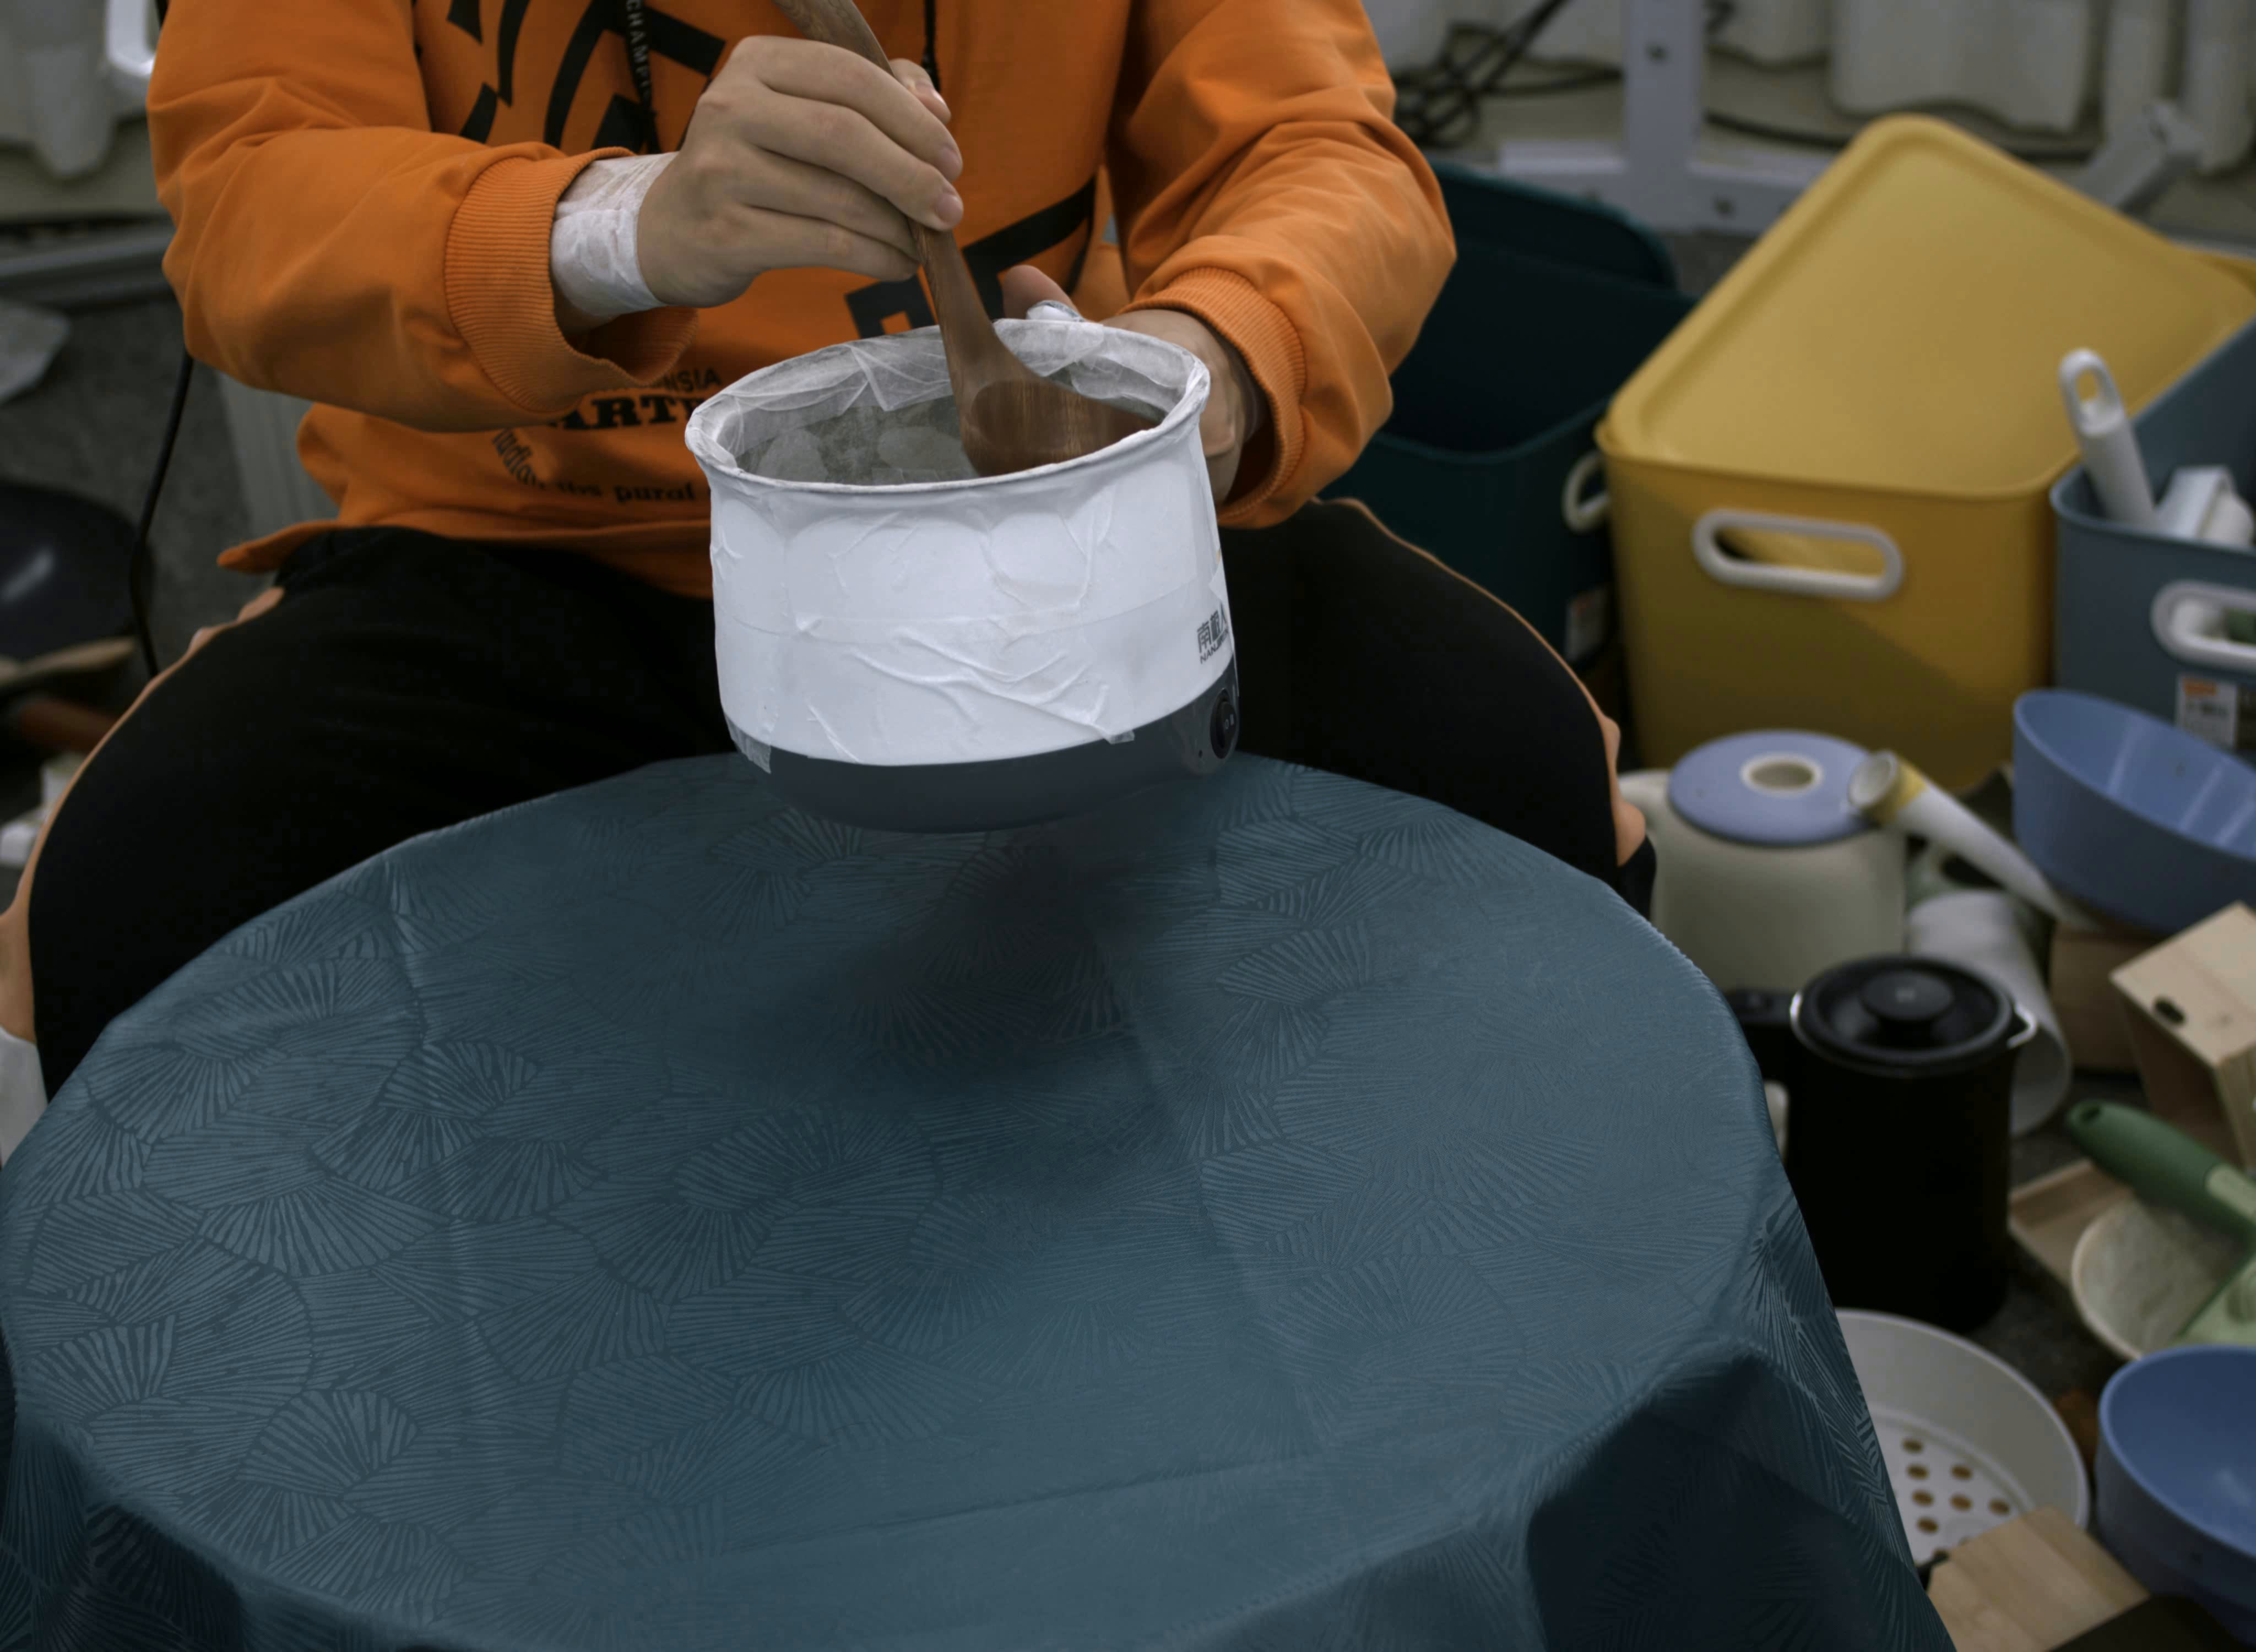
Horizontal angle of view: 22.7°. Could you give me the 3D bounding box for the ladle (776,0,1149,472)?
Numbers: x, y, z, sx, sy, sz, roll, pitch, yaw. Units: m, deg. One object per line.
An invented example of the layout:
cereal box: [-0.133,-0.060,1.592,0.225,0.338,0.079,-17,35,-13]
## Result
ladle: [-0.063,-0.216,1.939,0.077,0.064,0.263,-5,63,-48]

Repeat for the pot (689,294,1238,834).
pot: [-0.046,-0.095,1.935,0.177,0.135,0.237,2,23,18]
